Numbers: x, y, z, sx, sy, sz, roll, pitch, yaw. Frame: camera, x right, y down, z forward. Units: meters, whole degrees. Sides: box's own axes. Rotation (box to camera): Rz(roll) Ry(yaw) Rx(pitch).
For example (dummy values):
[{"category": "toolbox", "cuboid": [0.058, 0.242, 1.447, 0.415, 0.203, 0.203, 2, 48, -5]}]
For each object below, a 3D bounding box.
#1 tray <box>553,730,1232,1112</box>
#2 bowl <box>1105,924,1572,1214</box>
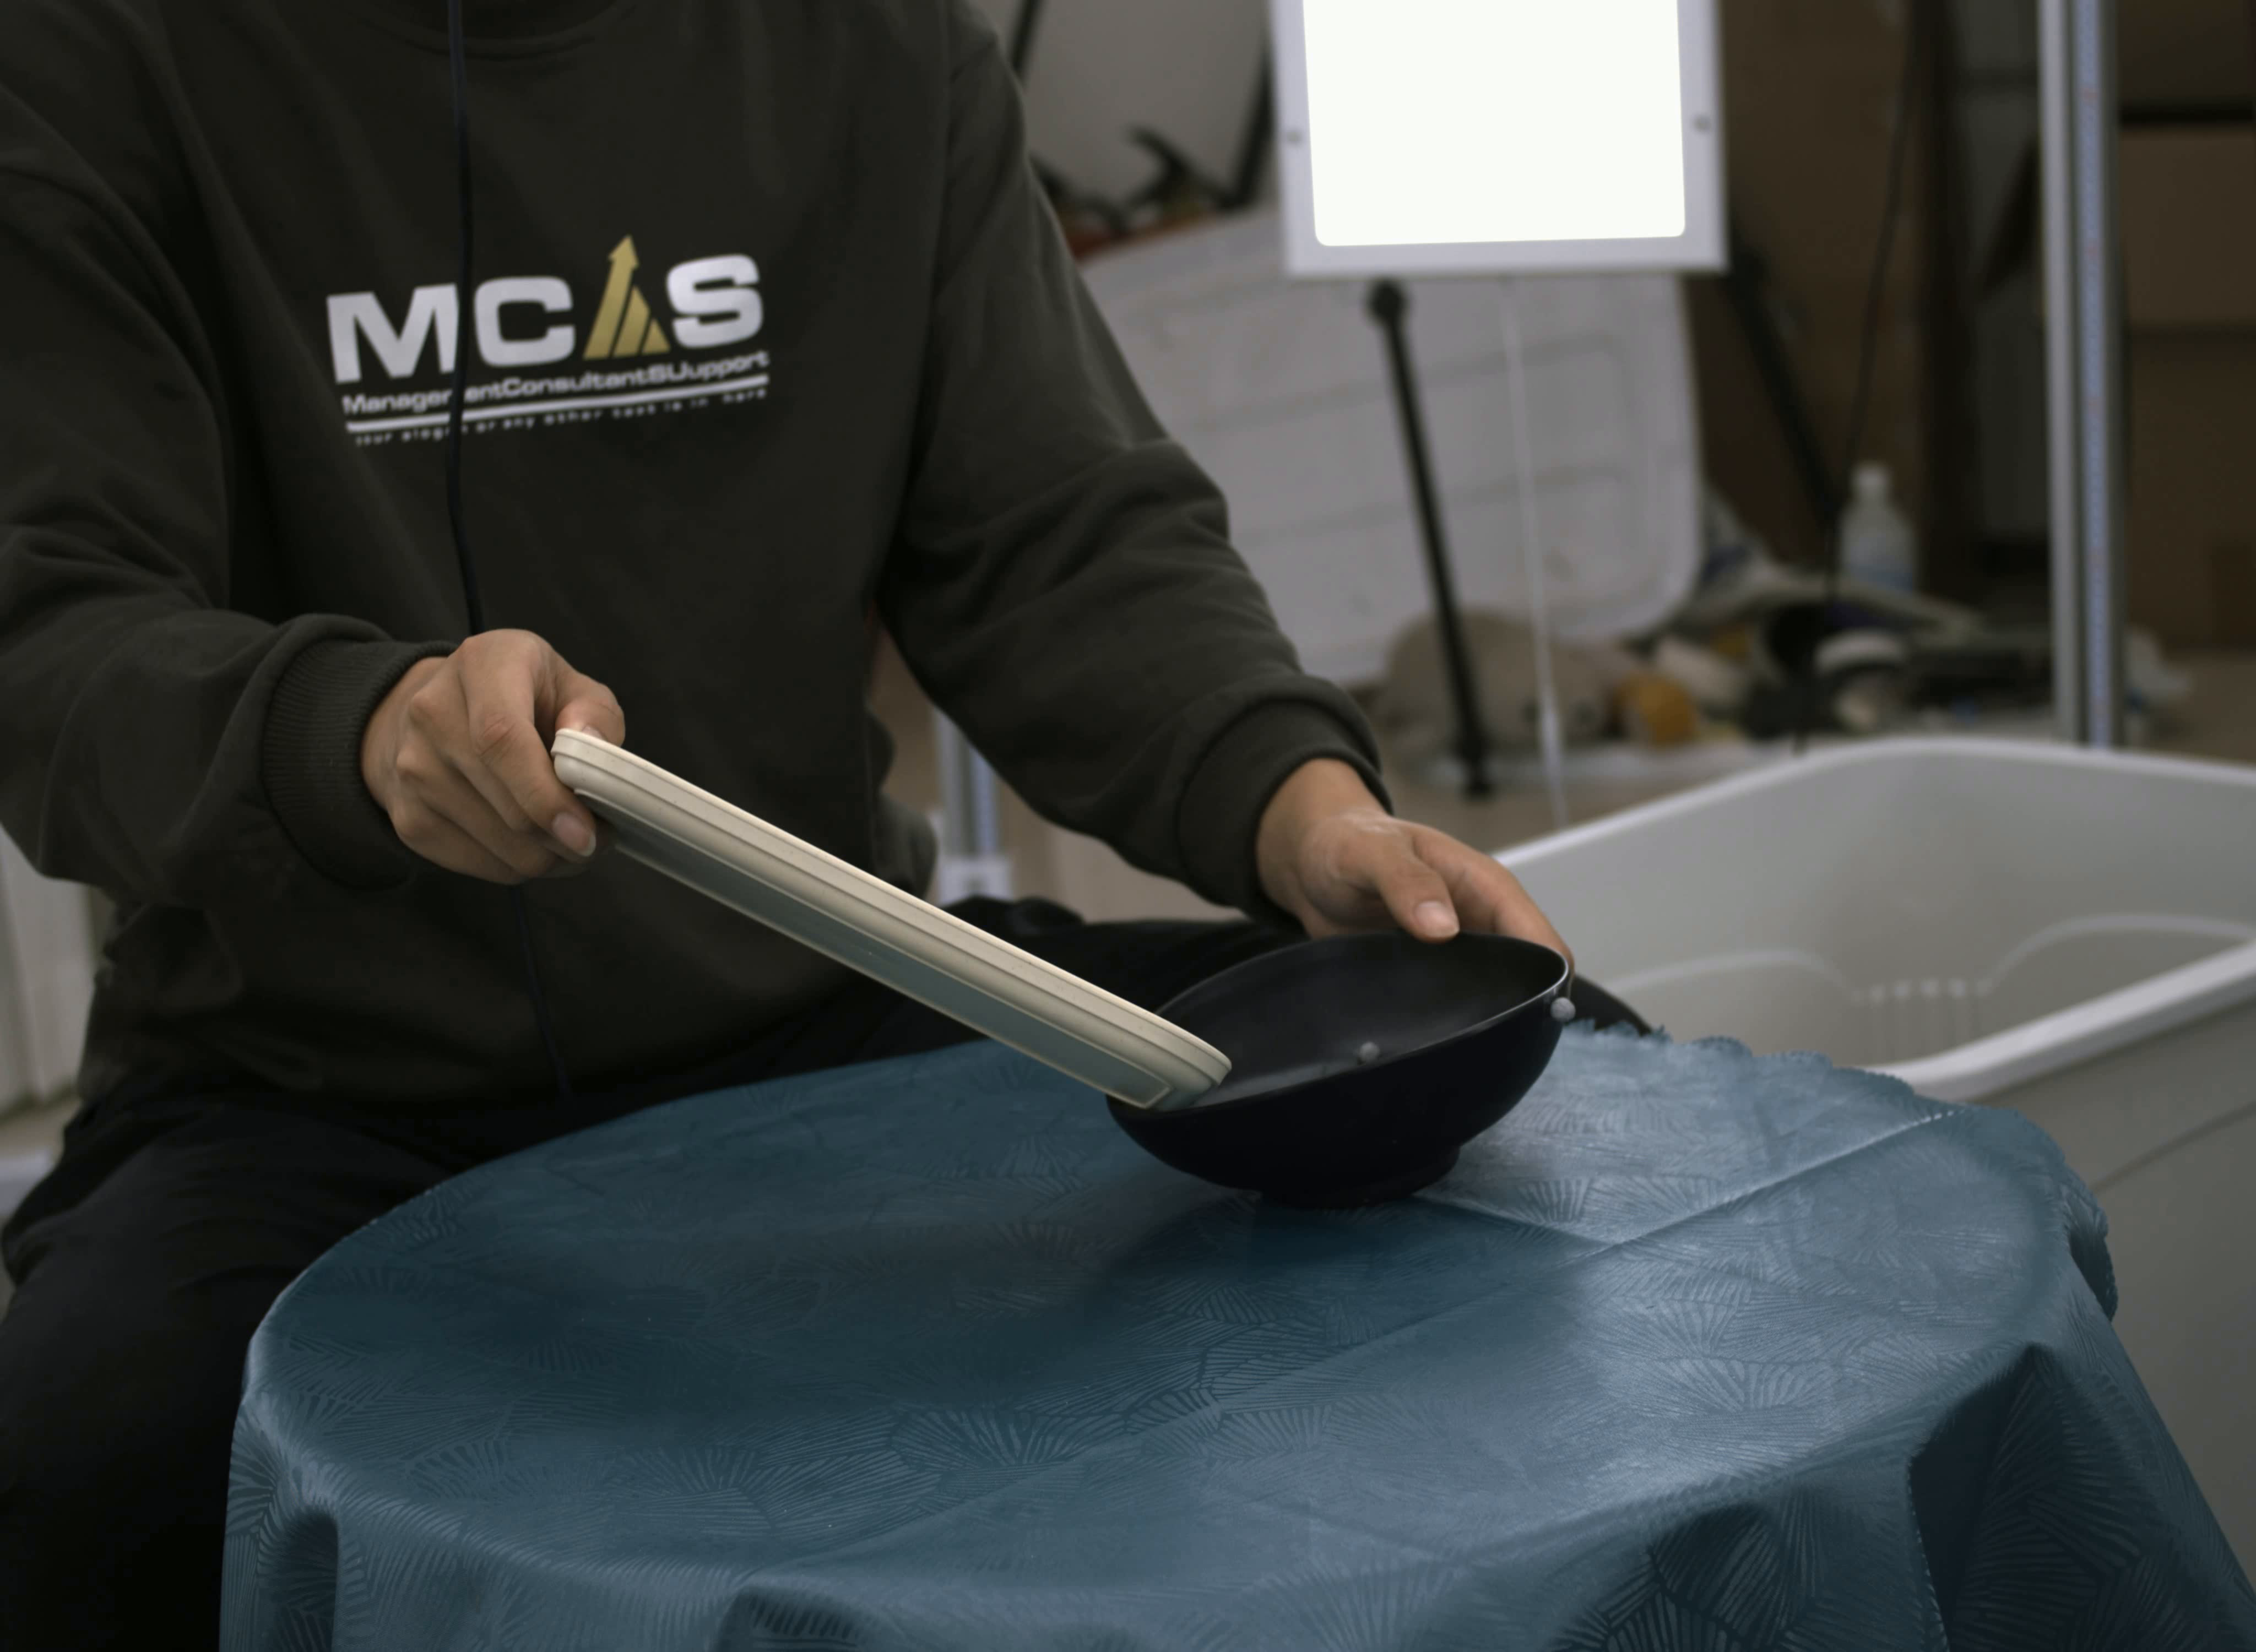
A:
[{"category": "tray", "cuboid": [-0.080, 0.035, 1.793, 0.239, 0.017, 0.171, 27, -7, 1]}, {"category": "bowl", "cuboid": [0.077, 0.090, 1.879, 0.167, 0.067, 0.139, -19, 17, -19]}]
